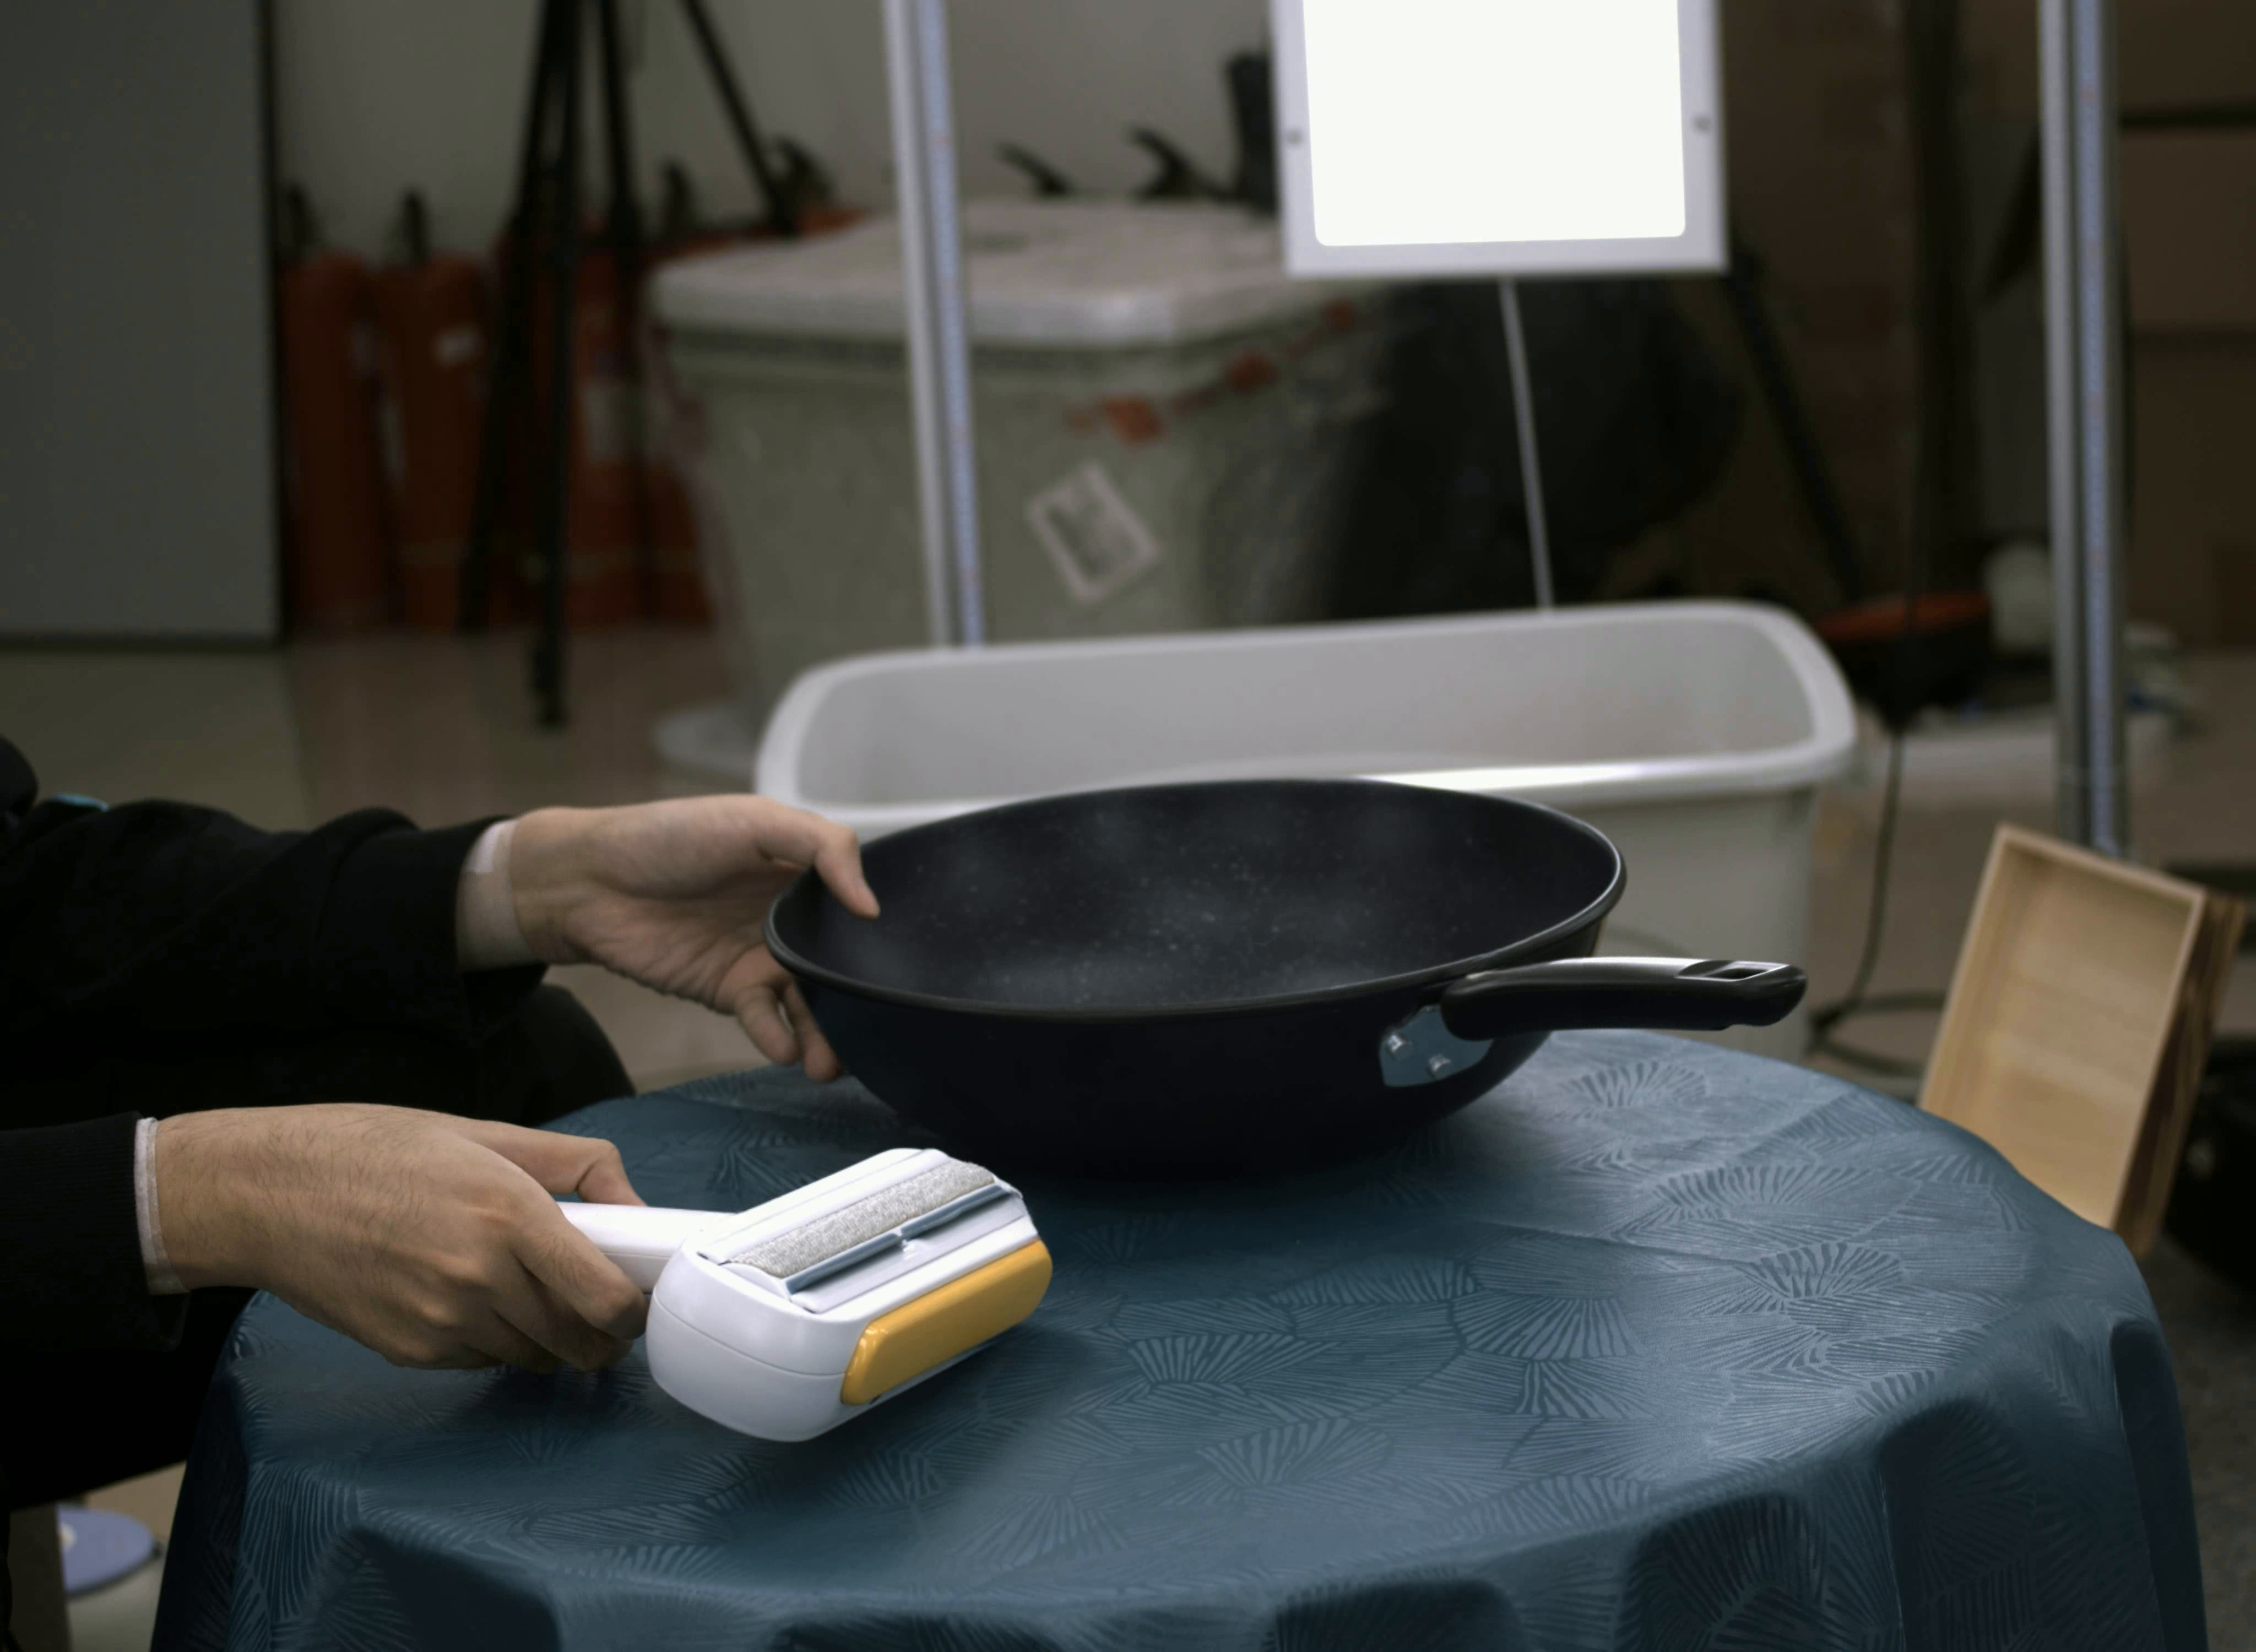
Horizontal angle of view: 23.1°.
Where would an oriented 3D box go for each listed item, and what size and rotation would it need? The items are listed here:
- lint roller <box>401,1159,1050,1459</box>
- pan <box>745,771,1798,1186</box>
[{"bbox_3d":[-0.140,0.135,1.716,0.195,0.075,0.188,16,18,25],"label":"lint roller"},{"bbox_3d":[0.068,0.064,1.900,0.303,0.112,0.486,-16,18,-32],"label":"pan"}]
